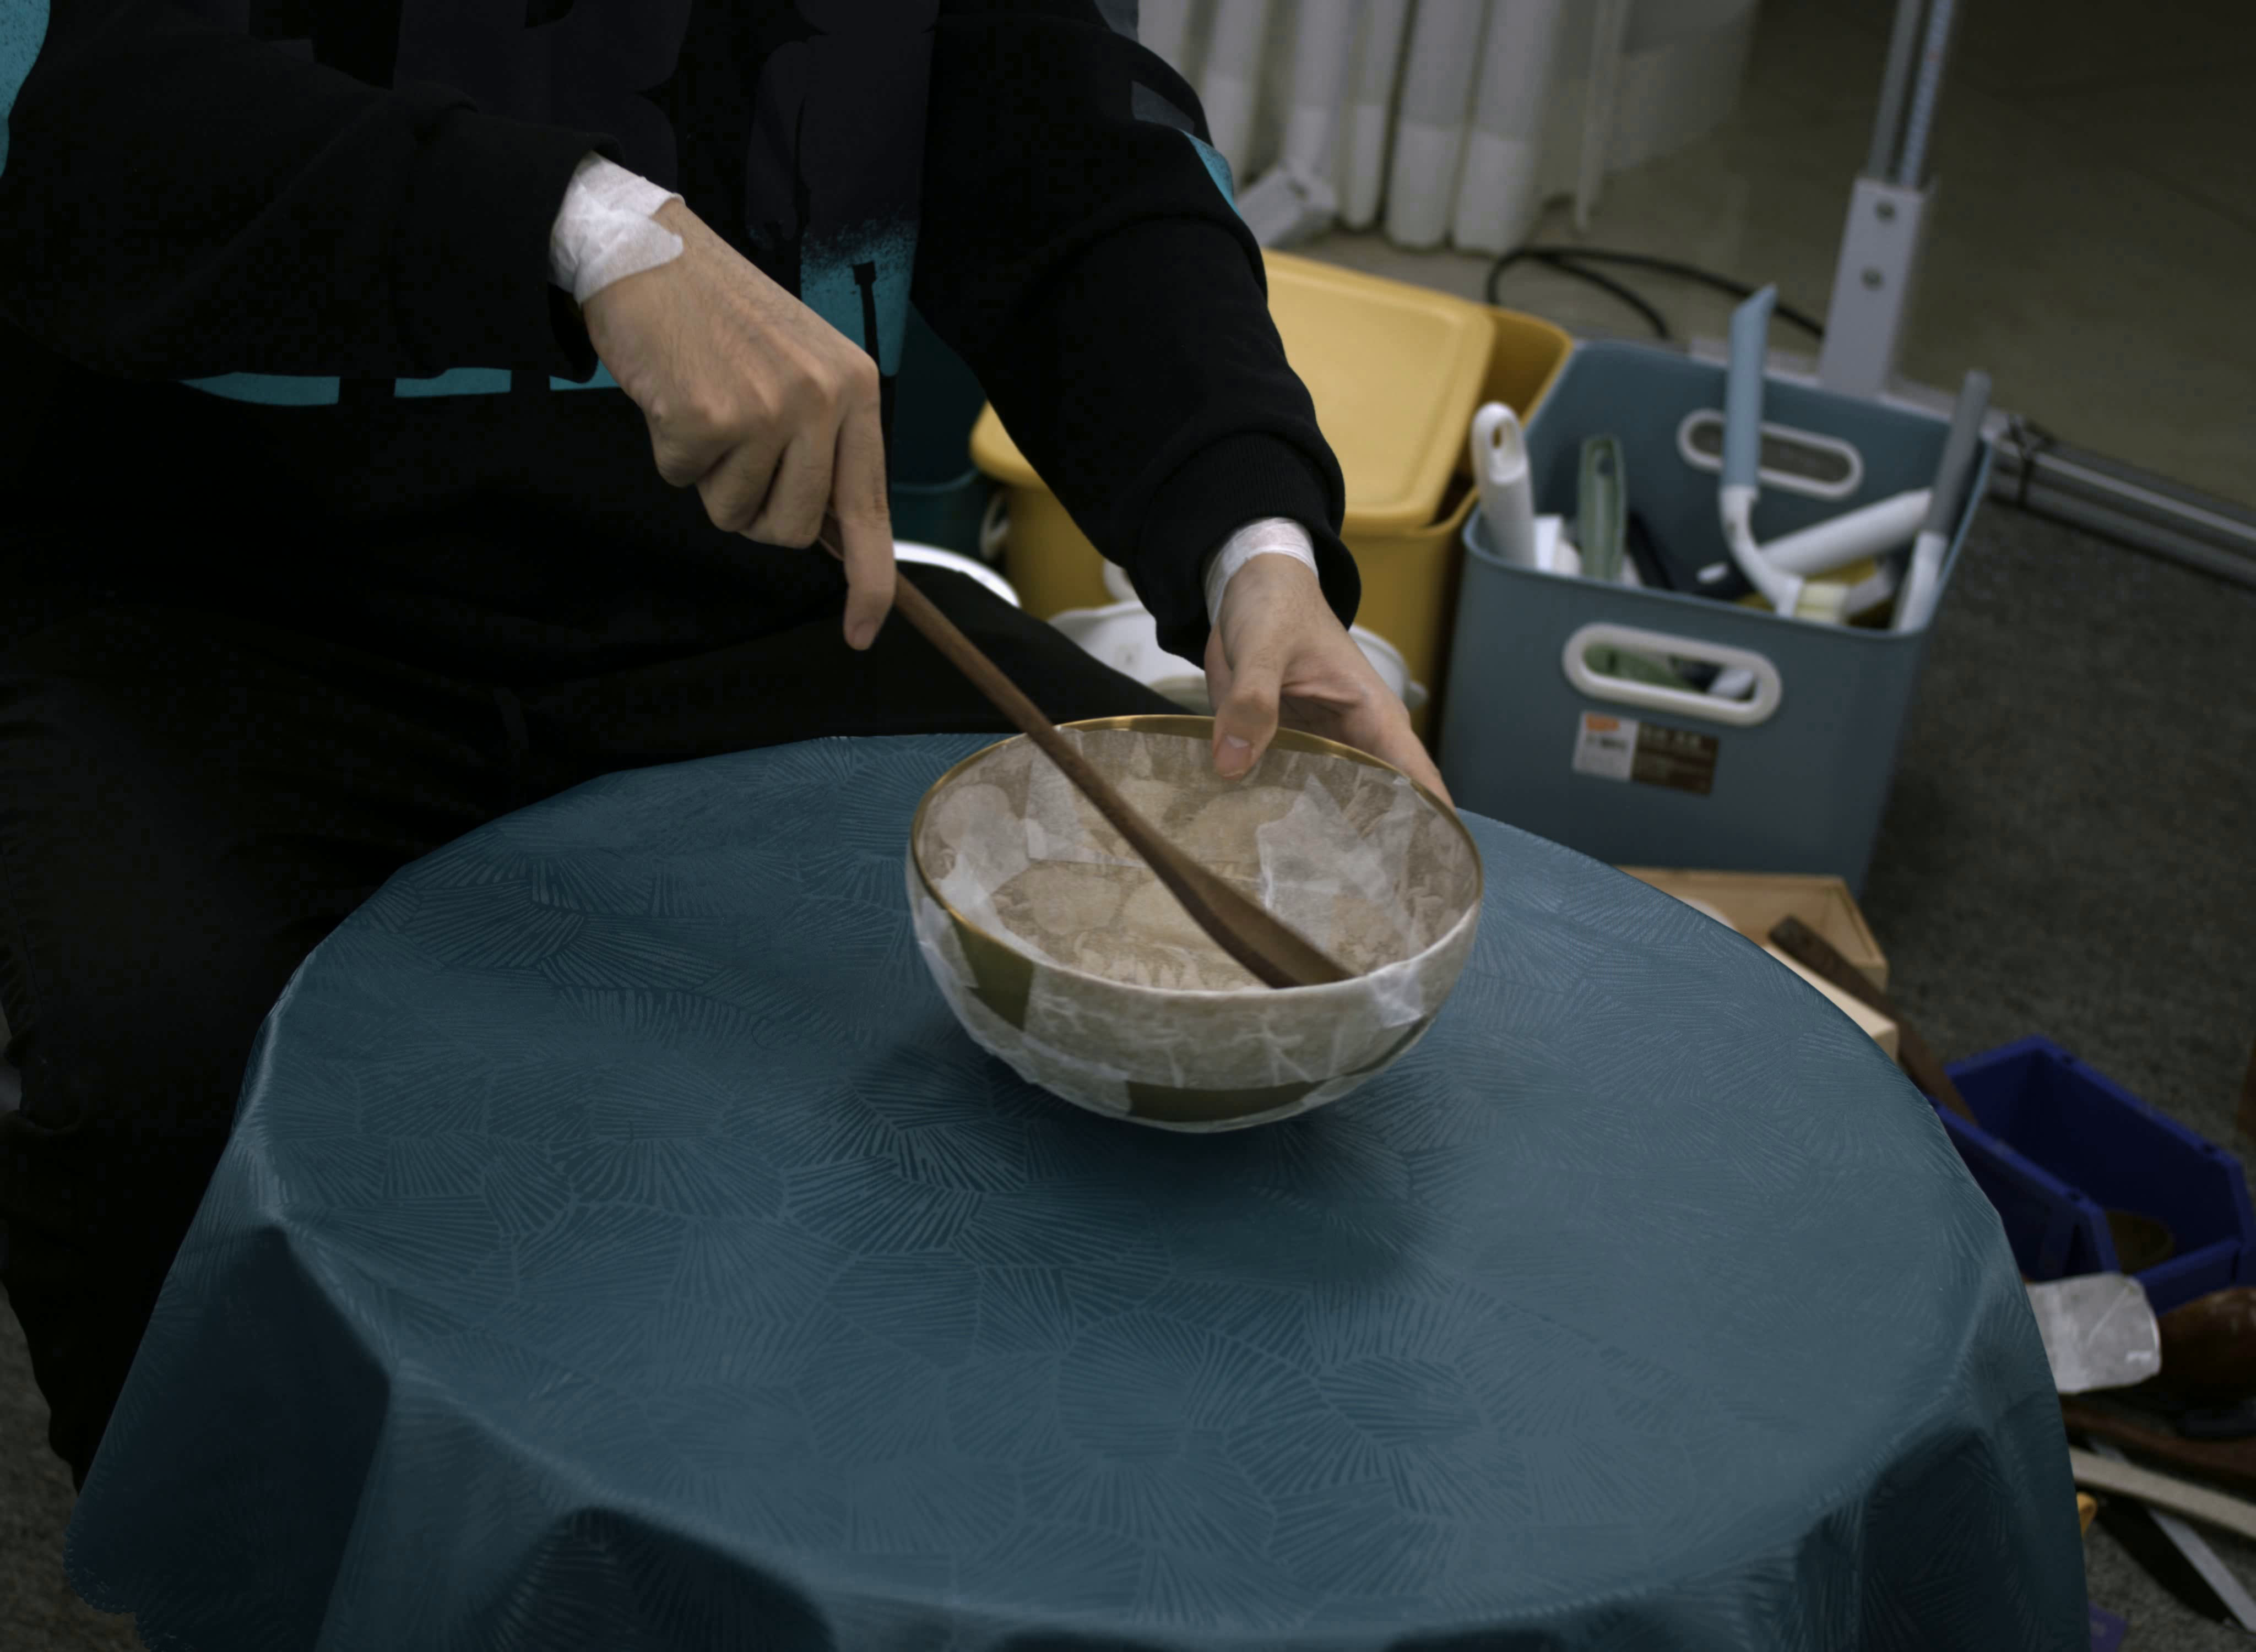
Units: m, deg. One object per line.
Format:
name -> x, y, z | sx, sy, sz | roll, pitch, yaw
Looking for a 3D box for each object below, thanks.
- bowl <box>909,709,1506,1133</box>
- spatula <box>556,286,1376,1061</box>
bowl -> 0.025, 0.045, 1.853 | 0.214, 0.094, 0.216 | 1, 27, -1
spatula -> -0.054, -0.053, 1.821 | 0.386, 0.016, 0.096 | 44, 6, 2
